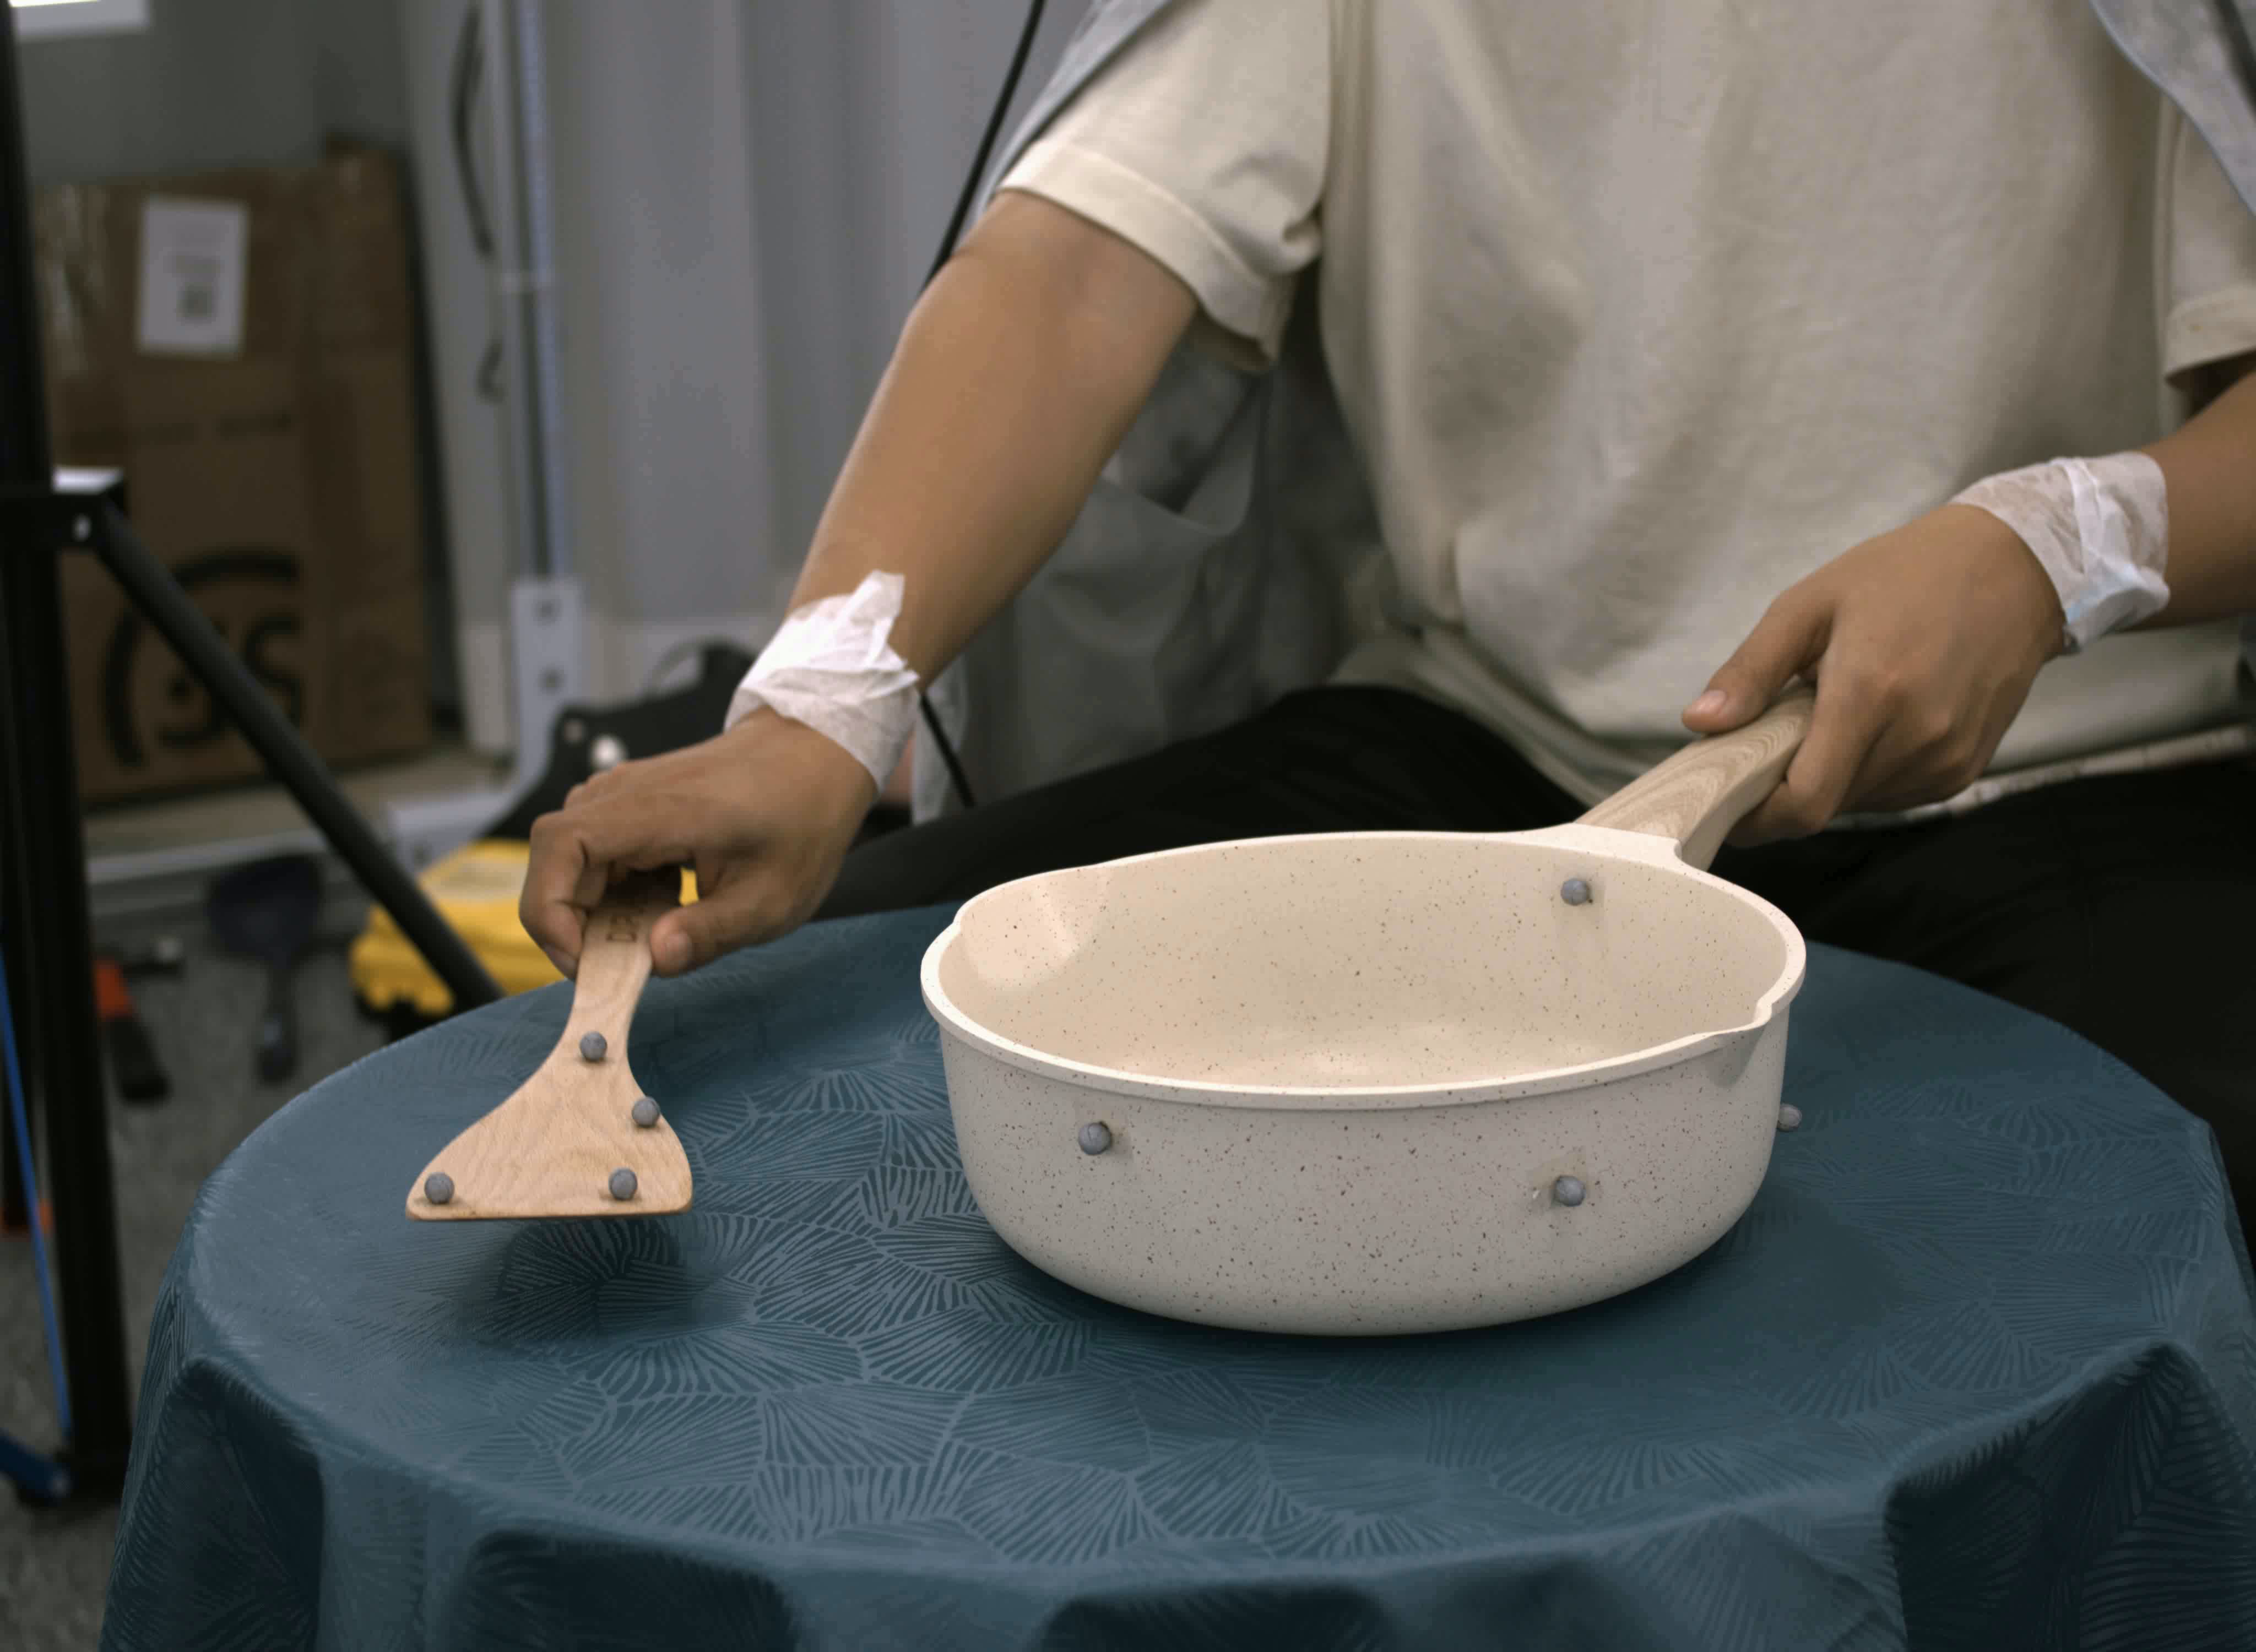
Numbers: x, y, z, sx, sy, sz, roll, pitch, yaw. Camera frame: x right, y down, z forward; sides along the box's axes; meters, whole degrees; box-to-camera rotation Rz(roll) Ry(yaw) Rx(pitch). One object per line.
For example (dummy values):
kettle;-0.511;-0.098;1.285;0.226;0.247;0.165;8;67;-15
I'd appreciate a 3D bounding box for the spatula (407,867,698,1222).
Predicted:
spatula;-0.158;0.063;1.608;0.079;0.016;0.329;1;18;0

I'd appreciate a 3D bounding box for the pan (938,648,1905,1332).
pan;0.125;0.044;1.576;0.269;0.102;0.426;7;18;36
